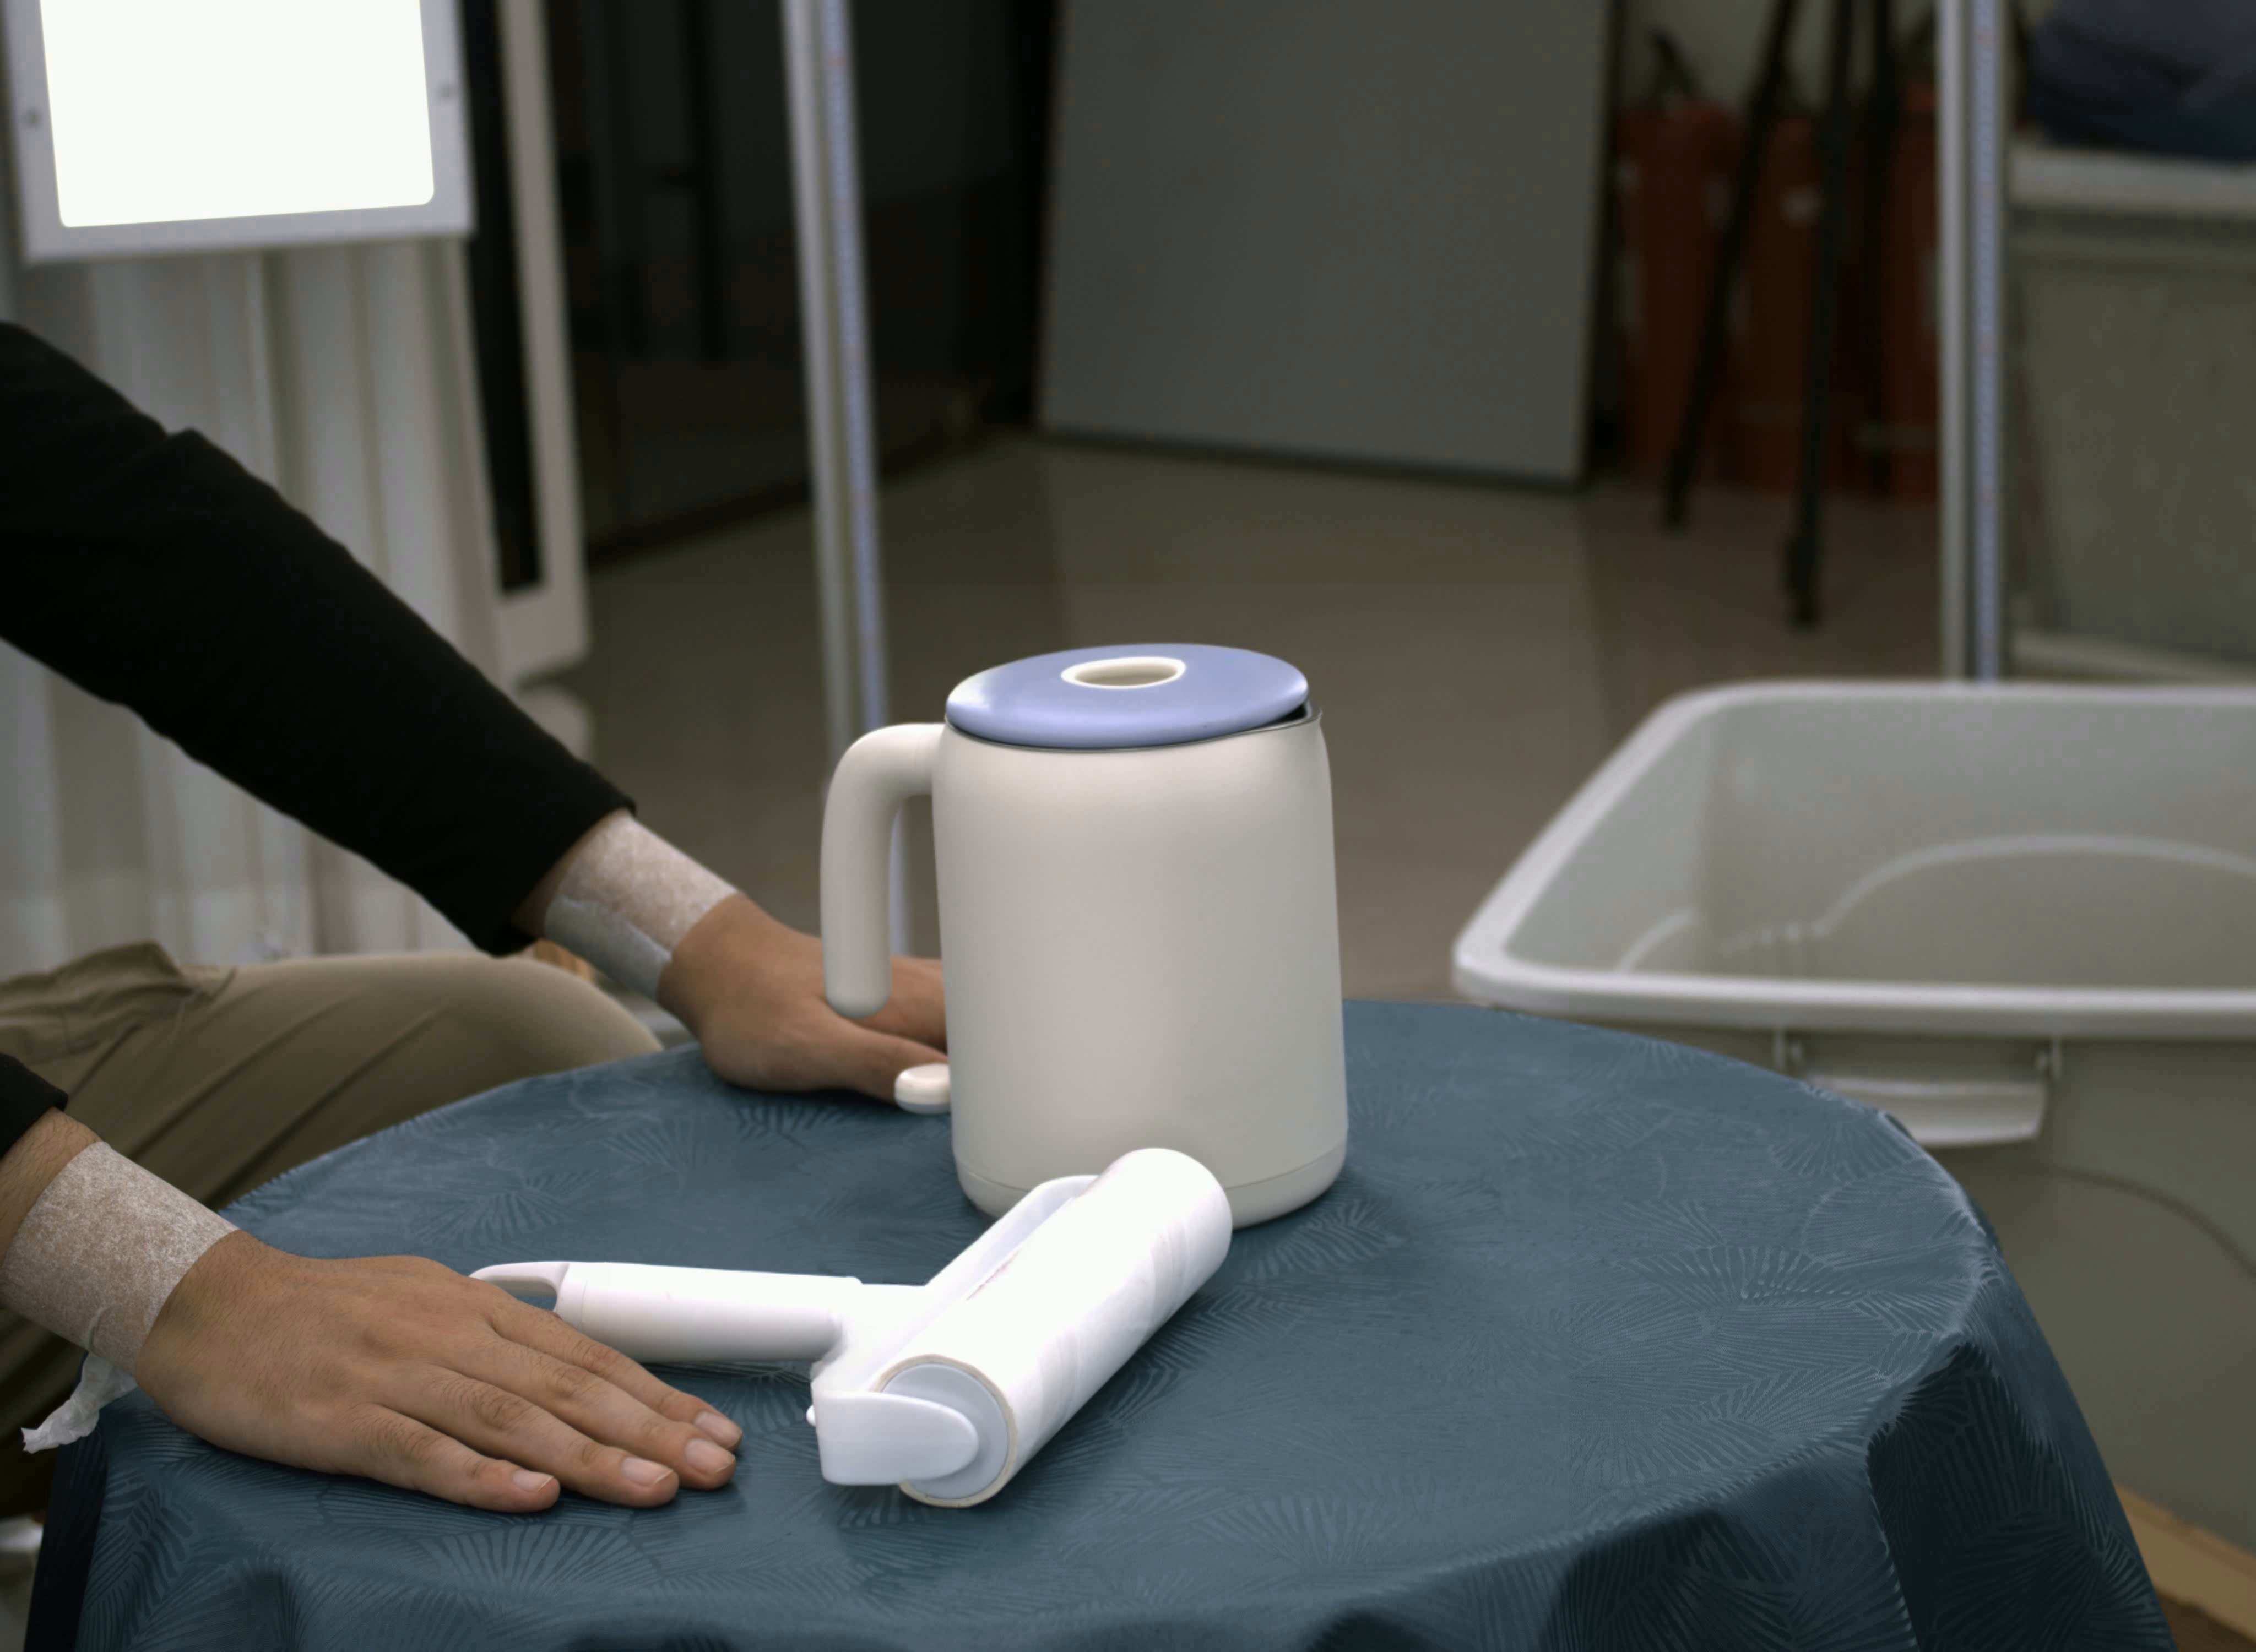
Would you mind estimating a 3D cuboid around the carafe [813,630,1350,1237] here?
[{"bbox_3d":[-0.018,0.035,1.765,0.191,0.184,0.130,1,13,27],"label":"carafe"}]

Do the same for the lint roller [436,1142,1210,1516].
[{"bbox_3d":[-0.106,0.145,1.615,0.225,0.049,0.201,0,16,21],"label":"lint roller"}]
